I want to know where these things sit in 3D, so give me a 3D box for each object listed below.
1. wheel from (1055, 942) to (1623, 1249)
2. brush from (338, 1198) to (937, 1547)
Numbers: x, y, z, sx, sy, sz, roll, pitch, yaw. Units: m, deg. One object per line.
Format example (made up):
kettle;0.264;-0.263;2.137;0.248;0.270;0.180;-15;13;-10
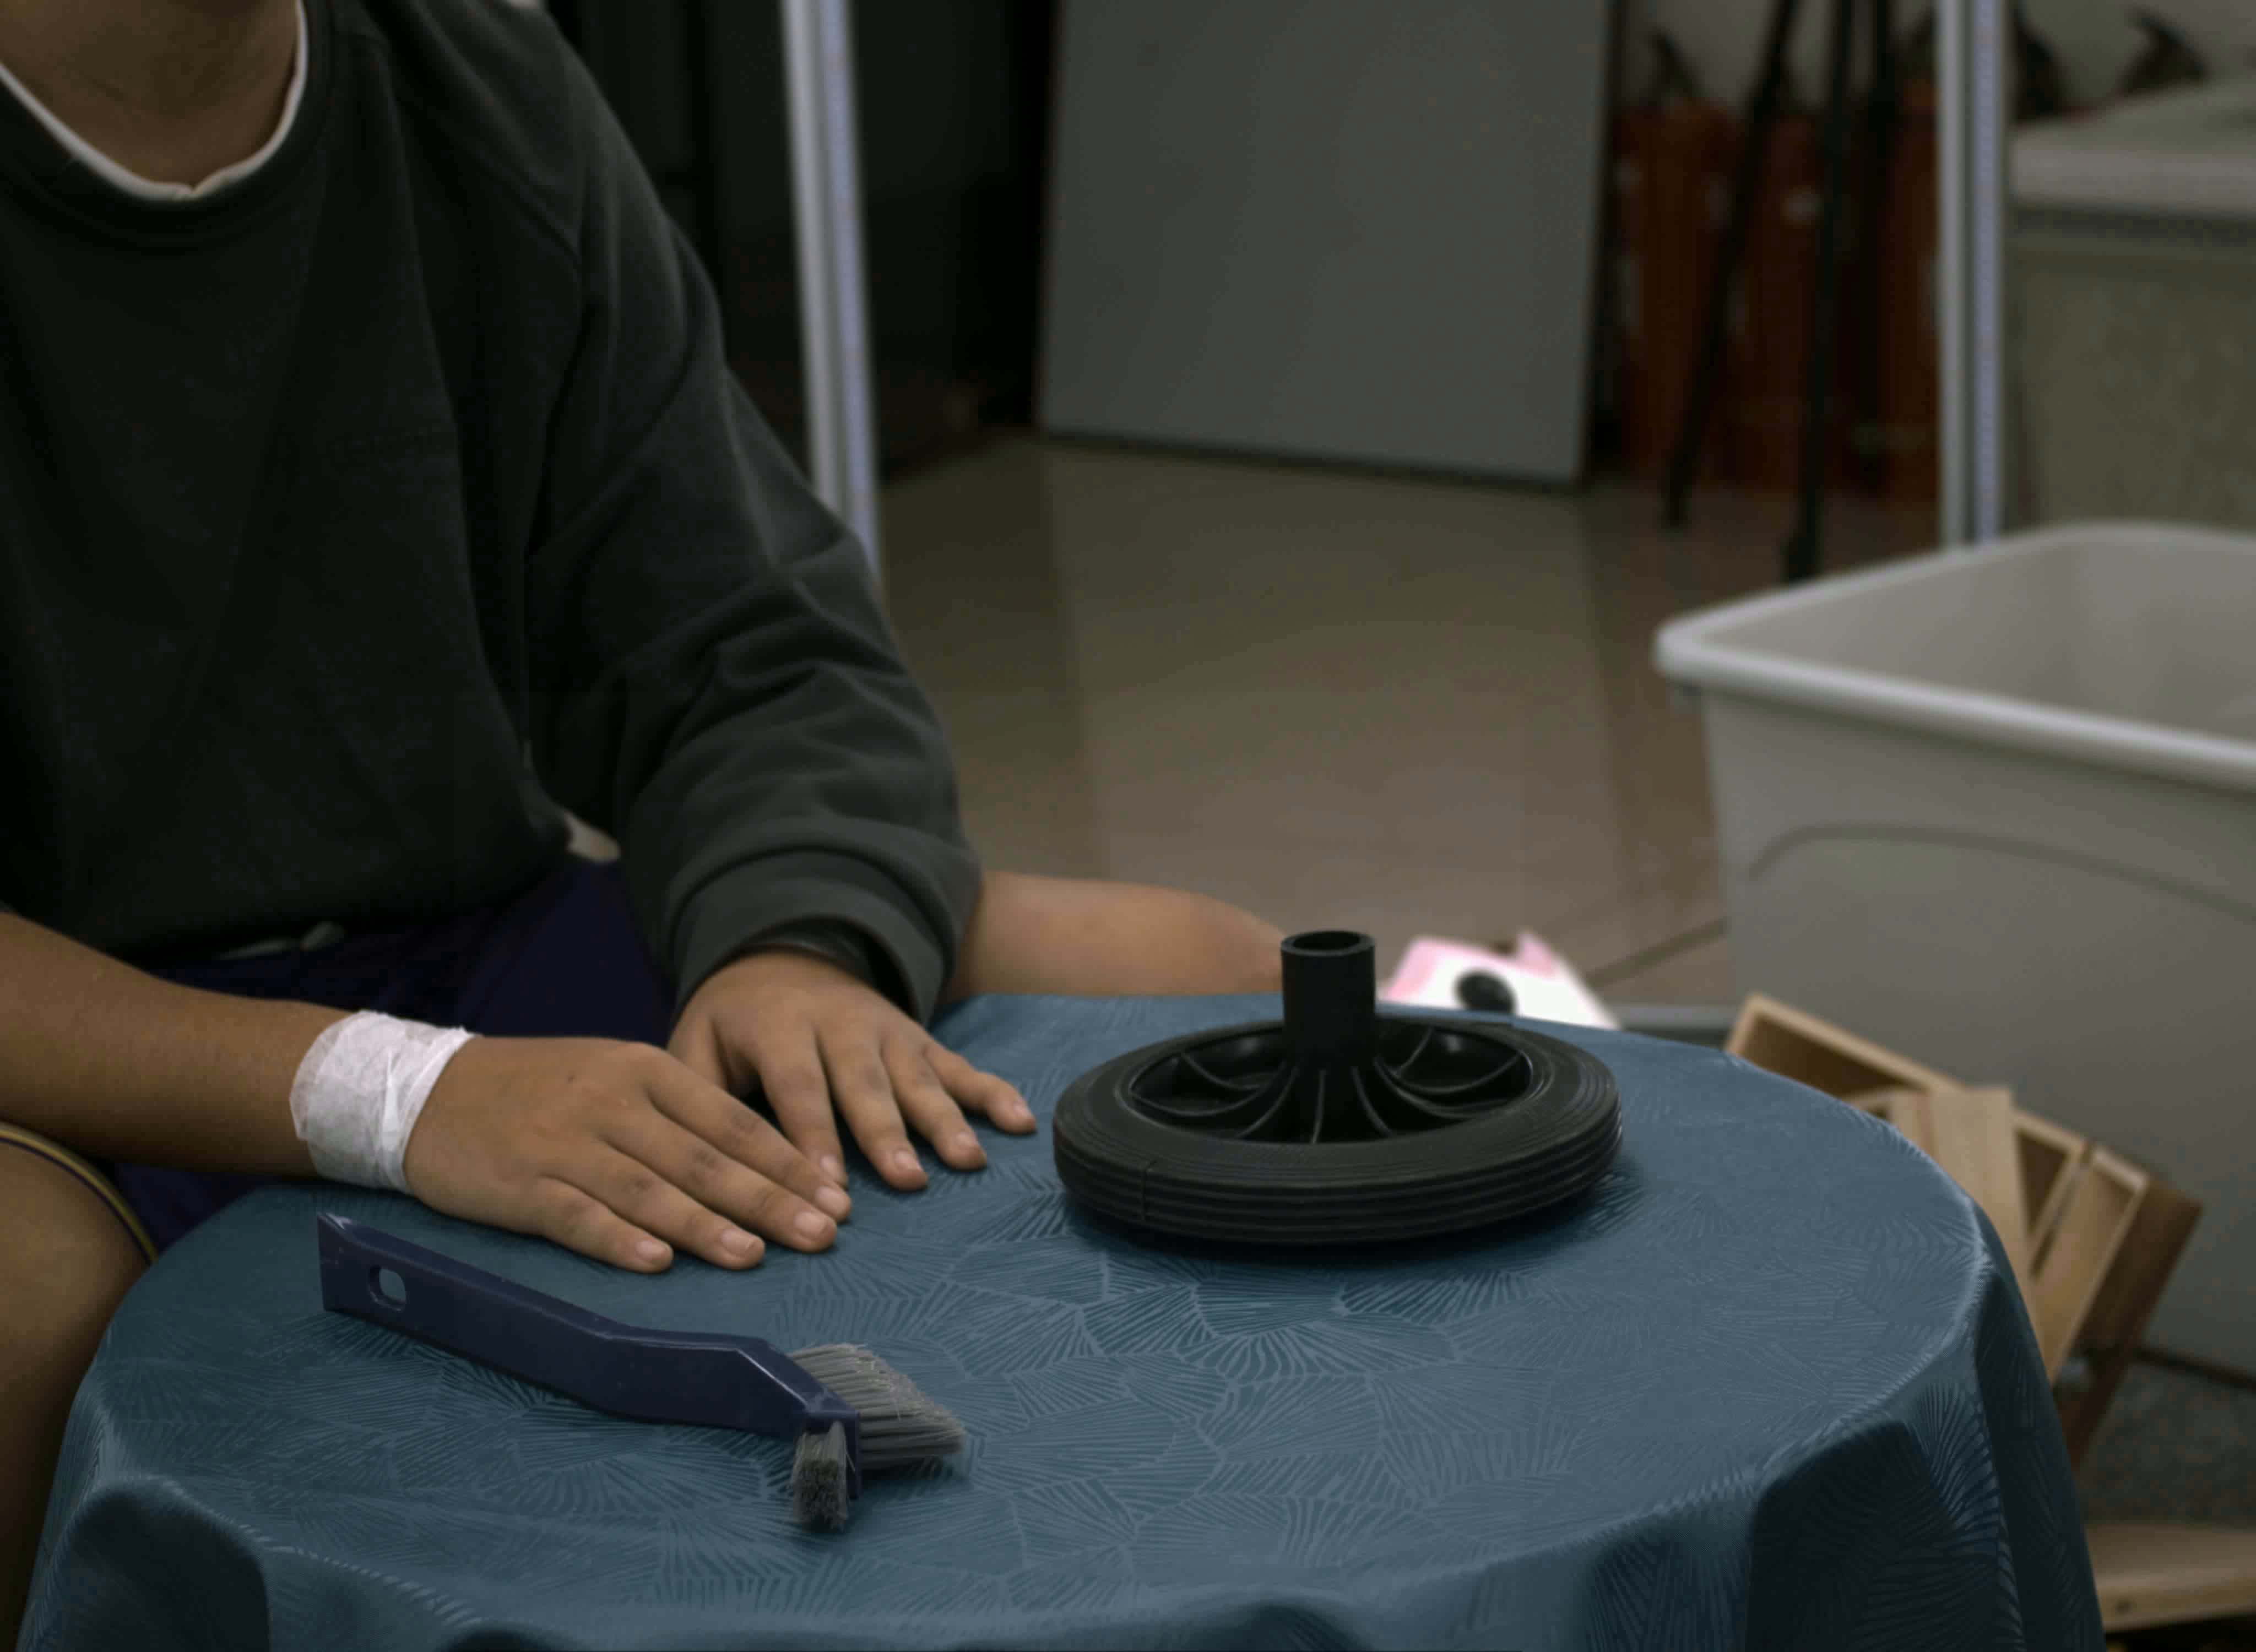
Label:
wheel;0.067;0.080;1.756;0.184;0.080;0.191;-7;14;-9
brush;-0.164;0.157;1.598;0.275;0.034;0.094;10;20;41
